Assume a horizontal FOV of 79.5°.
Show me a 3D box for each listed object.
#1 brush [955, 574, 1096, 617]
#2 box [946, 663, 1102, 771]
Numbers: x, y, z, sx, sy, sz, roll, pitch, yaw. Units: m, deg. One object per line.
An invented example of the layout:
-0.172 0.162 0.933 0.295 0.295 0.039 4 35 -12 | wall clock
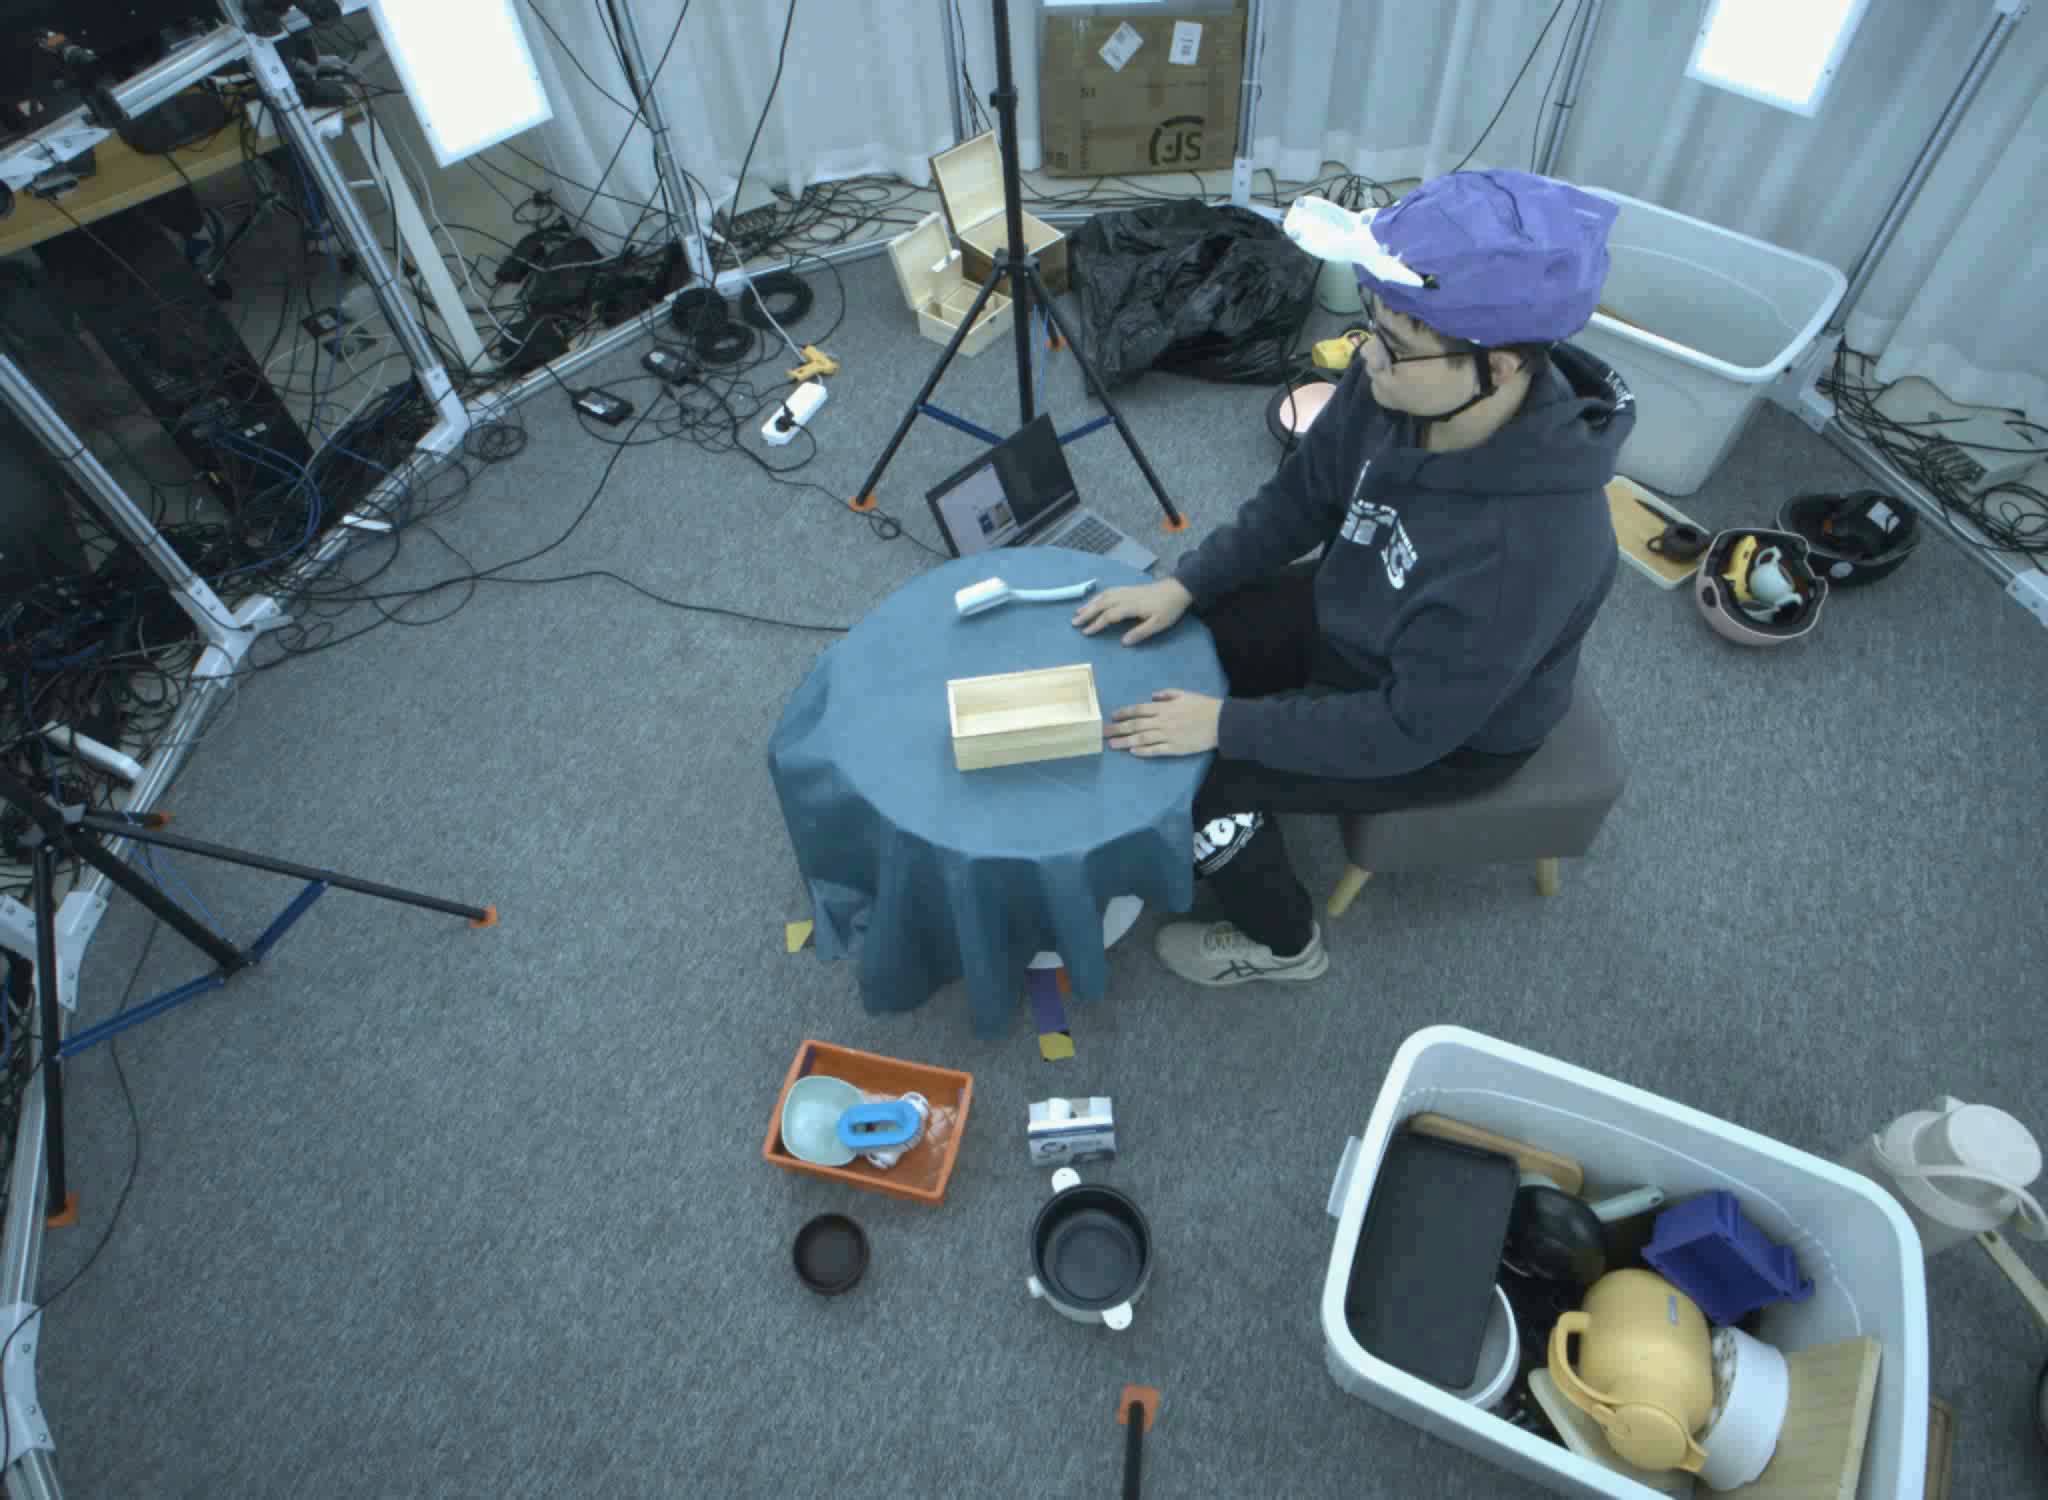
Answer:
0.002 -0.255 1.945 0.230 0.038 0.049 -11 63 -7 | brush
0.000 -0.048 1.772 0.212 0.081 0.106 -8 55 -3 | box
